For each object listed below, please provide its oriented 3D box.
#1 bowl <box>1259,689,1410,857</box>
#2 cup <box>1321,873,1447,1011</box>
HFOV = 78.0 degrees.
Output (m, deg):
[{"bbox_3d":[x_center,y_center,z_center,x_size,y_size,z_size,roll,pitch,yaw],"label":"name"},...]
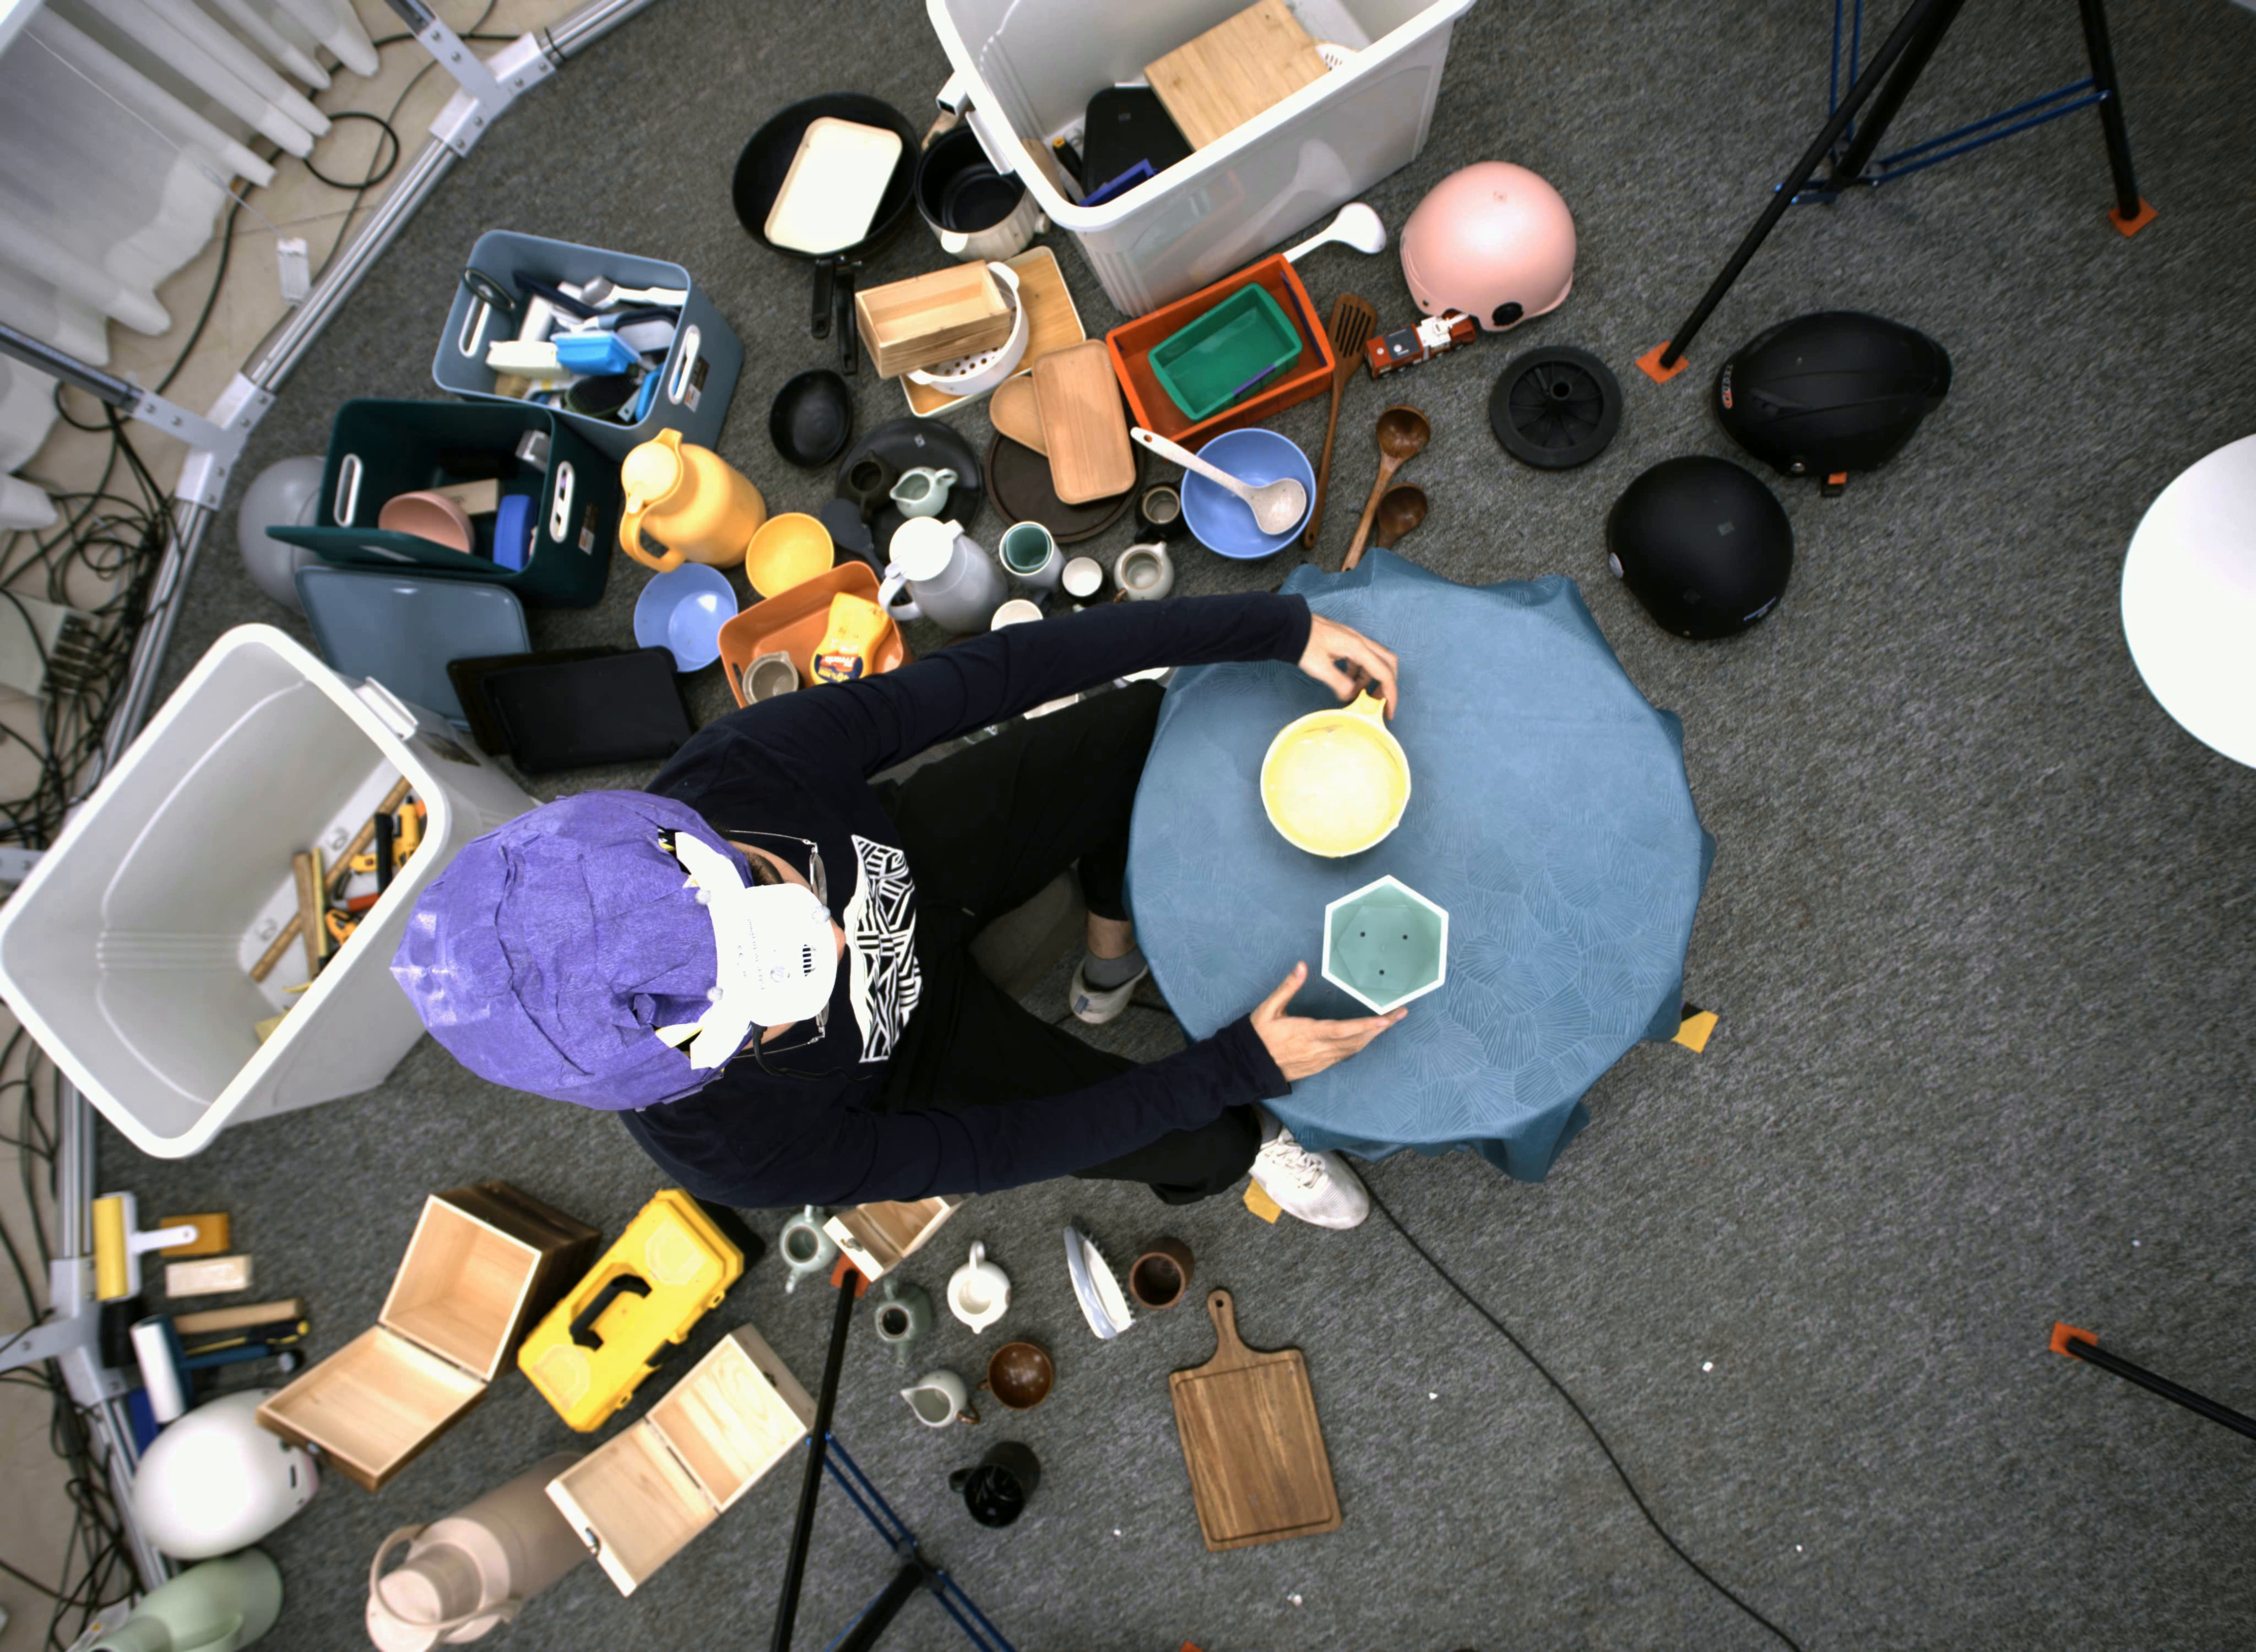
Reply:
[{"bbox_3d":[0.222,-0.055,1.441,0.153,0.074,0.179,21,92,12],"label":"bowl"},{"bbox_3d":[0.255,0.117,1.376,0.115,0.163,0.130,2,85,11],"label":"cup"}]
